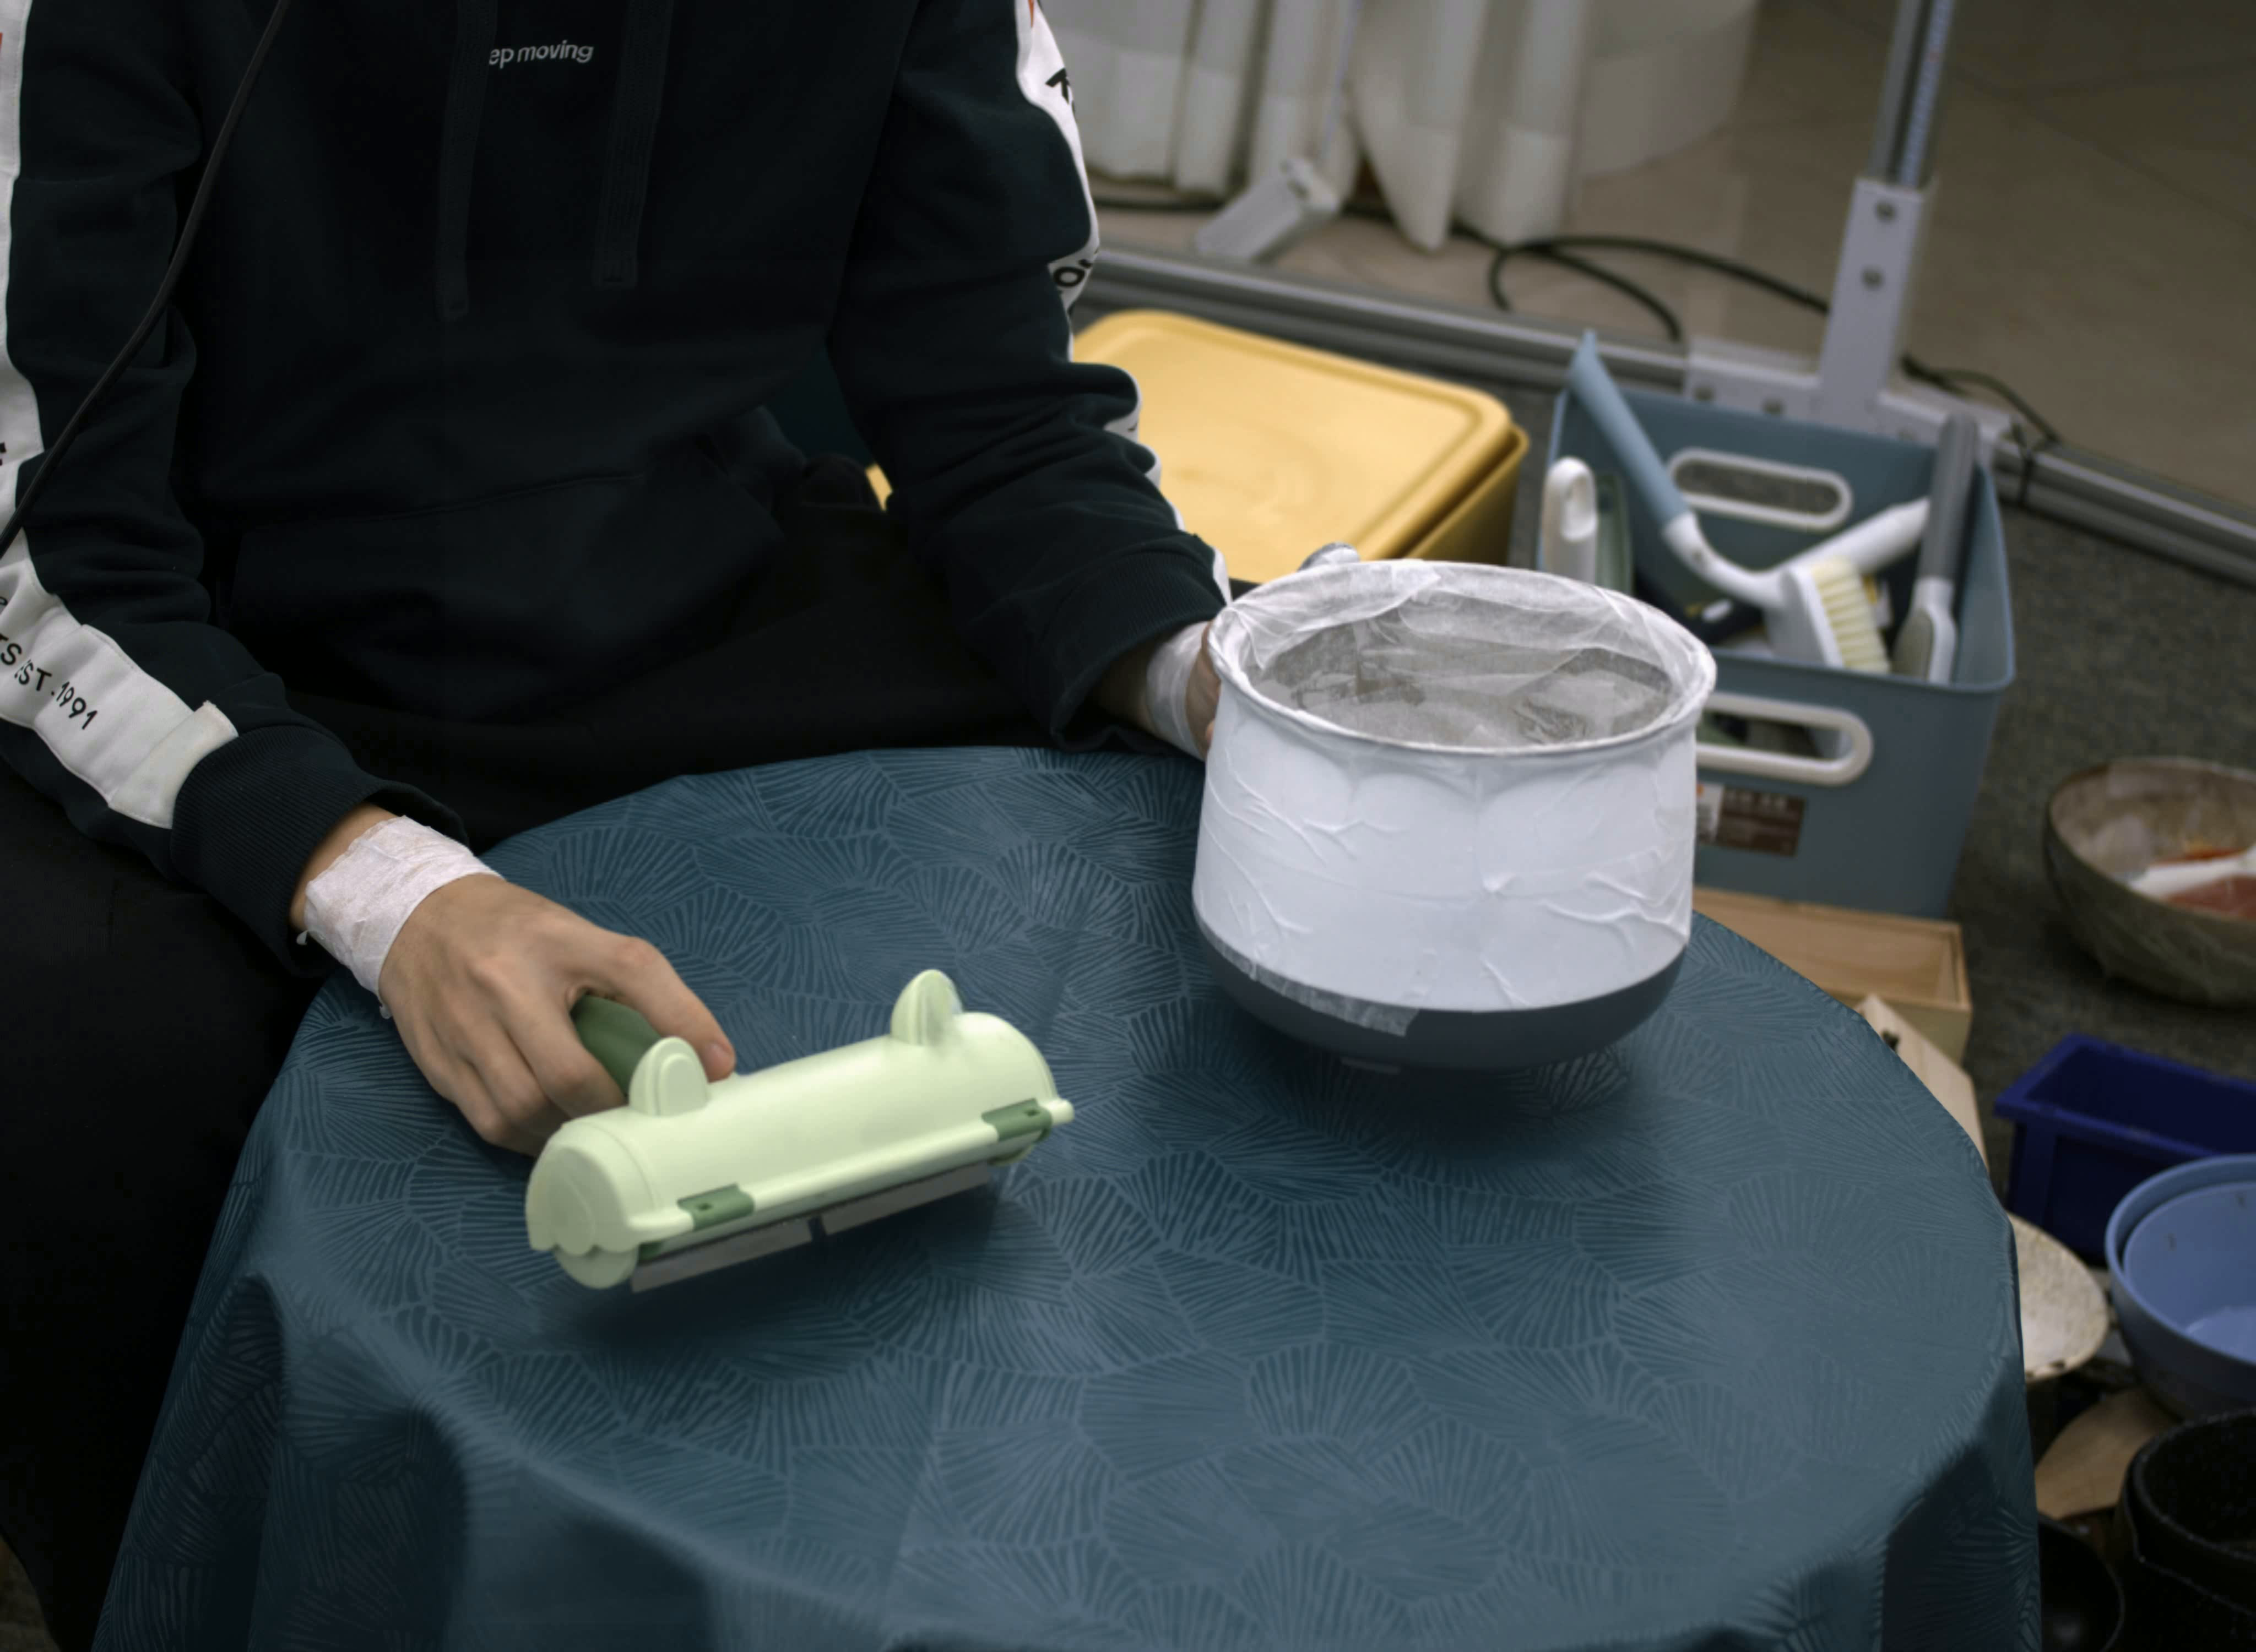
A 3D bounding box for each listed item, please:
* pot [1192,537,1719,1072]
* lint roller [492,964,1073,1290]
[{"bbox_3d":[0.101,-0.014,1.888,0.177,0.136,0.236,-7,25,-23],"label":"pot"},{"bbox_3d":[-0.144,0.073,1.750,0.197,0.082,0.185,-14,36,-44],"label":"lint roller"}]
